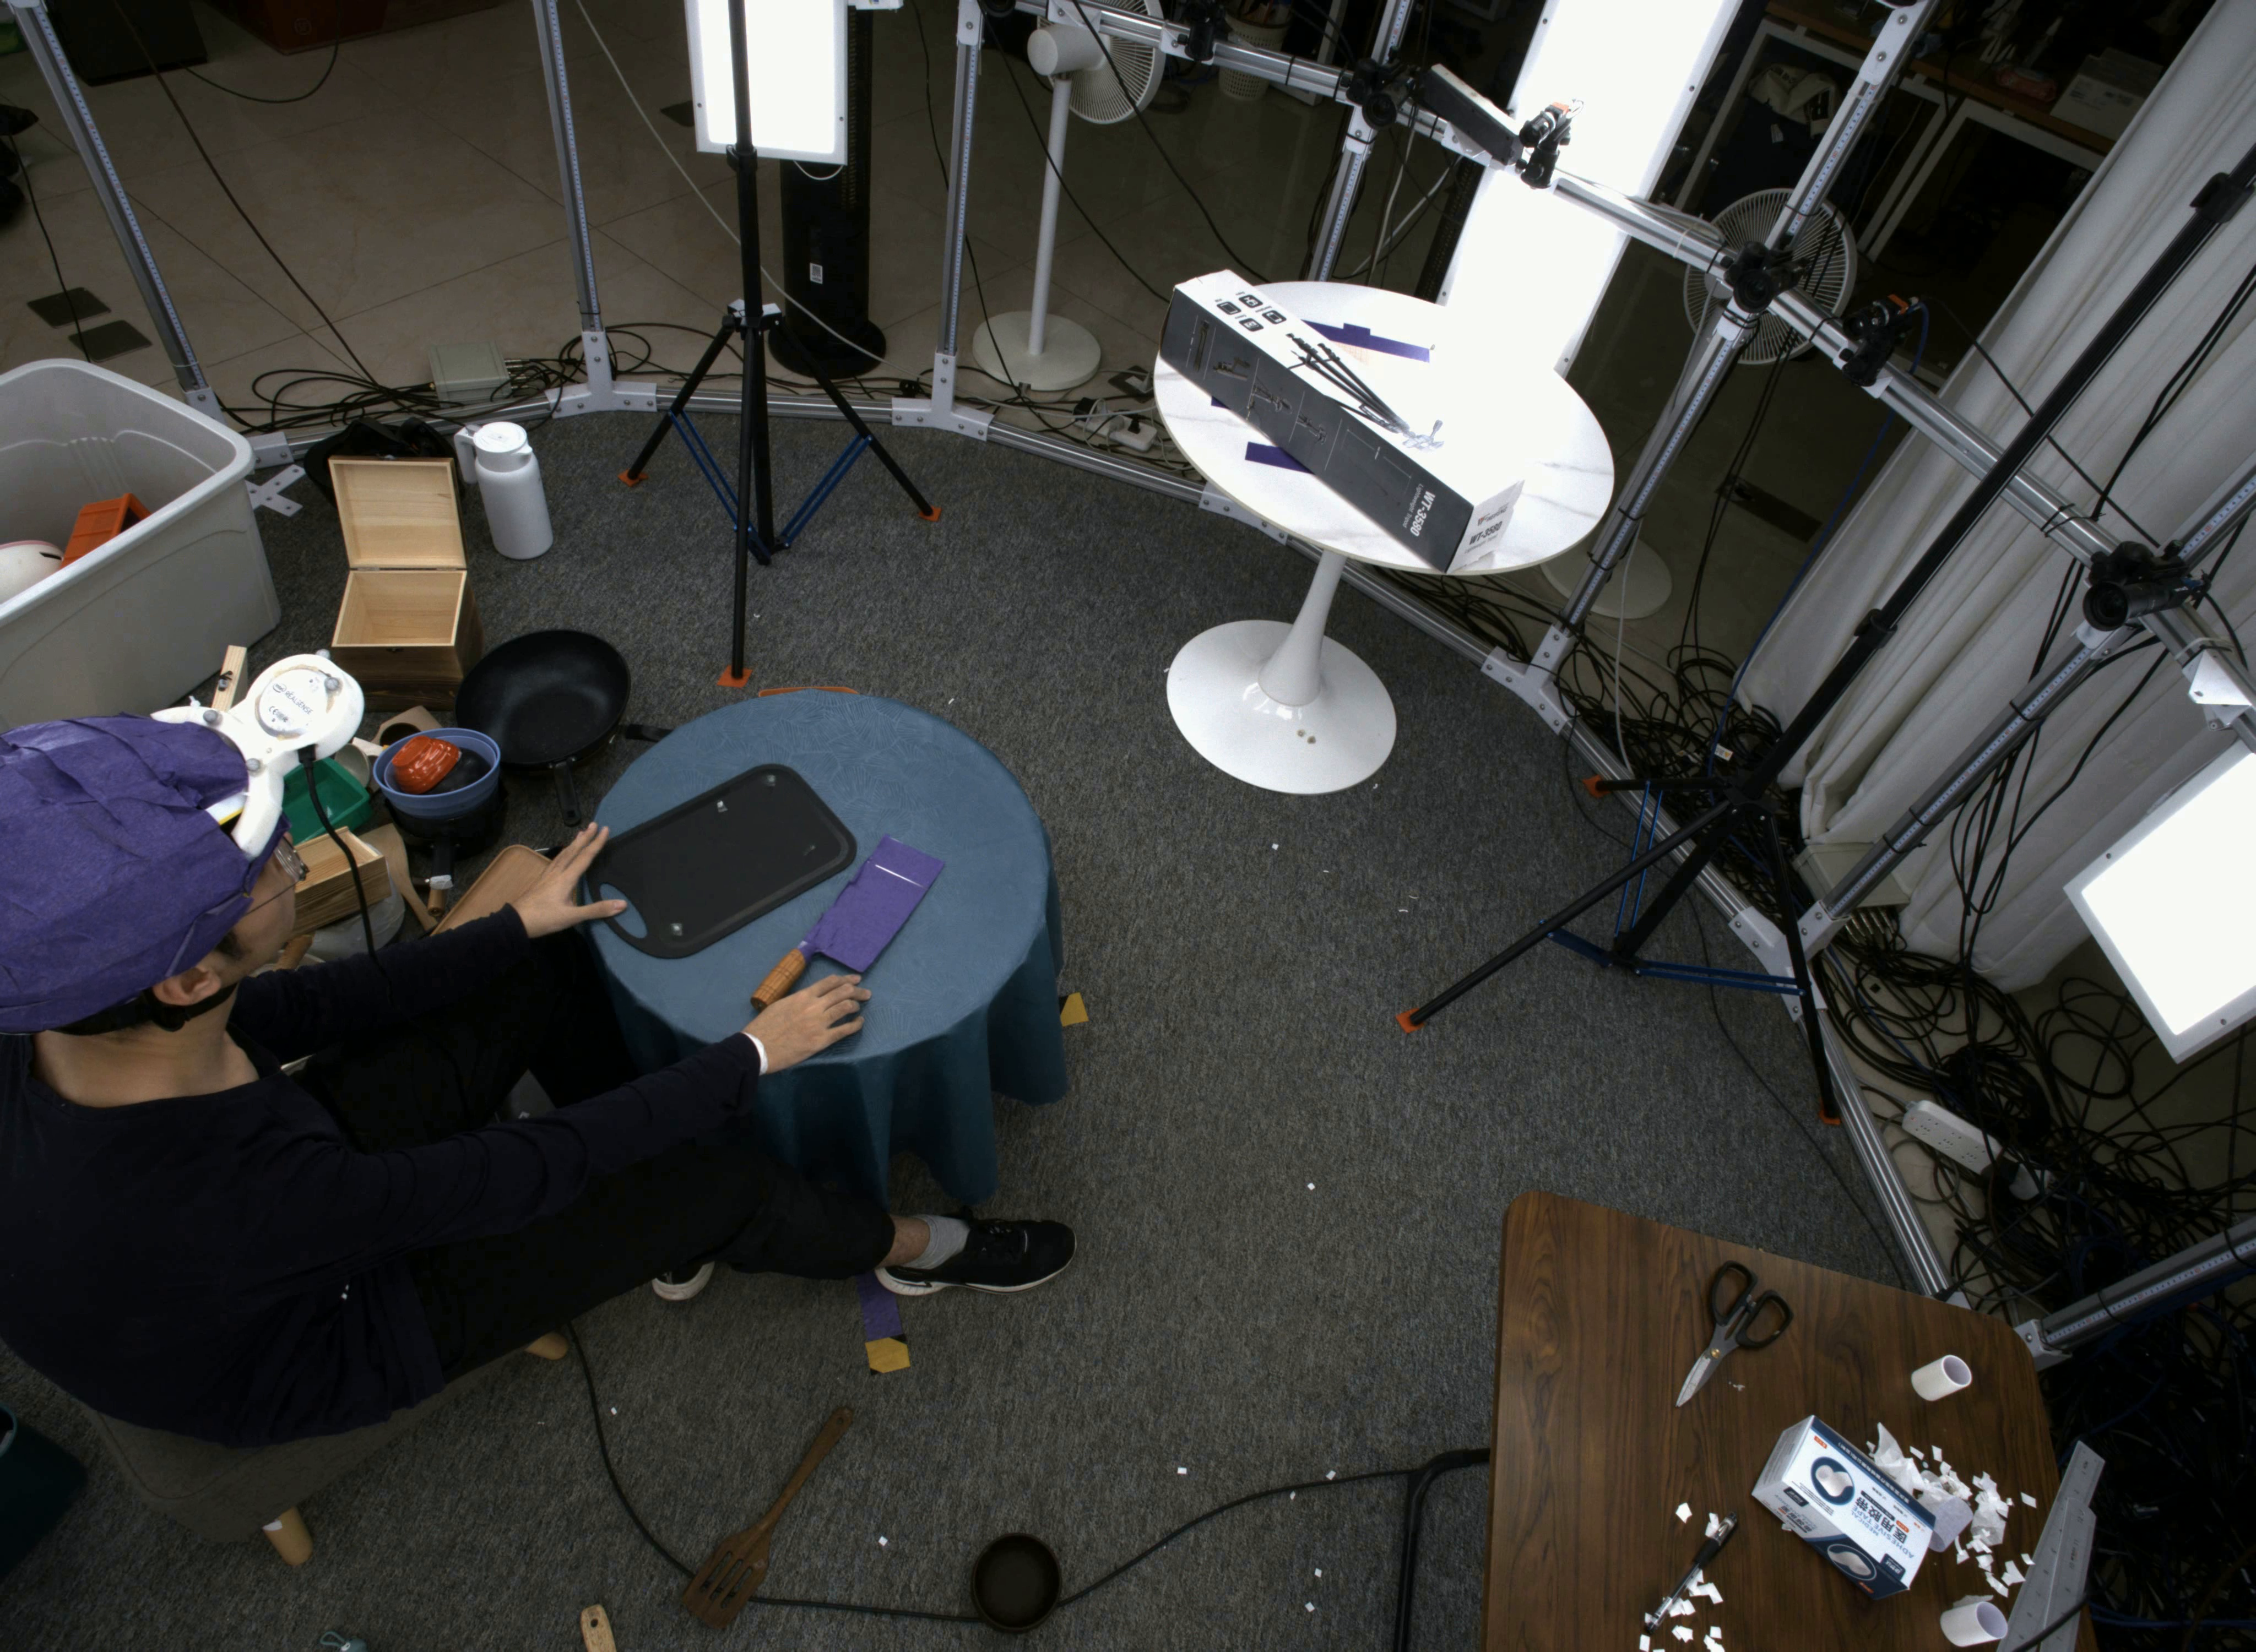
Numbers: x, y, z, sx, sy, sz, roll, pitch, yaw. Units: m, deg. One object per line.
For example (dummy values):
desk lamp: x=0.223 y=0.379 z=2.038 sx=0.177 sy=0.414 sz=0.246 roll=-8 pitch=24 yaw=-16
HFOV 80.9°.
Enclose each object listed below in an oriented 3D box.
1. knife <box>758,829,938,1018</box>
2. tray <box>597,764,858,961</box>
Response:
knife: x=-0.345 y=0.125 z=1.645 sx=0.102 sy=0.033 sz=0.313 roll=25 pitch=51 yaw=6
tray: x=-0.525 y=0.042 z=1.674 sx=0.326 sy=0.010 sz=0.206 roll=-33 pitch=67 yaw=-31
